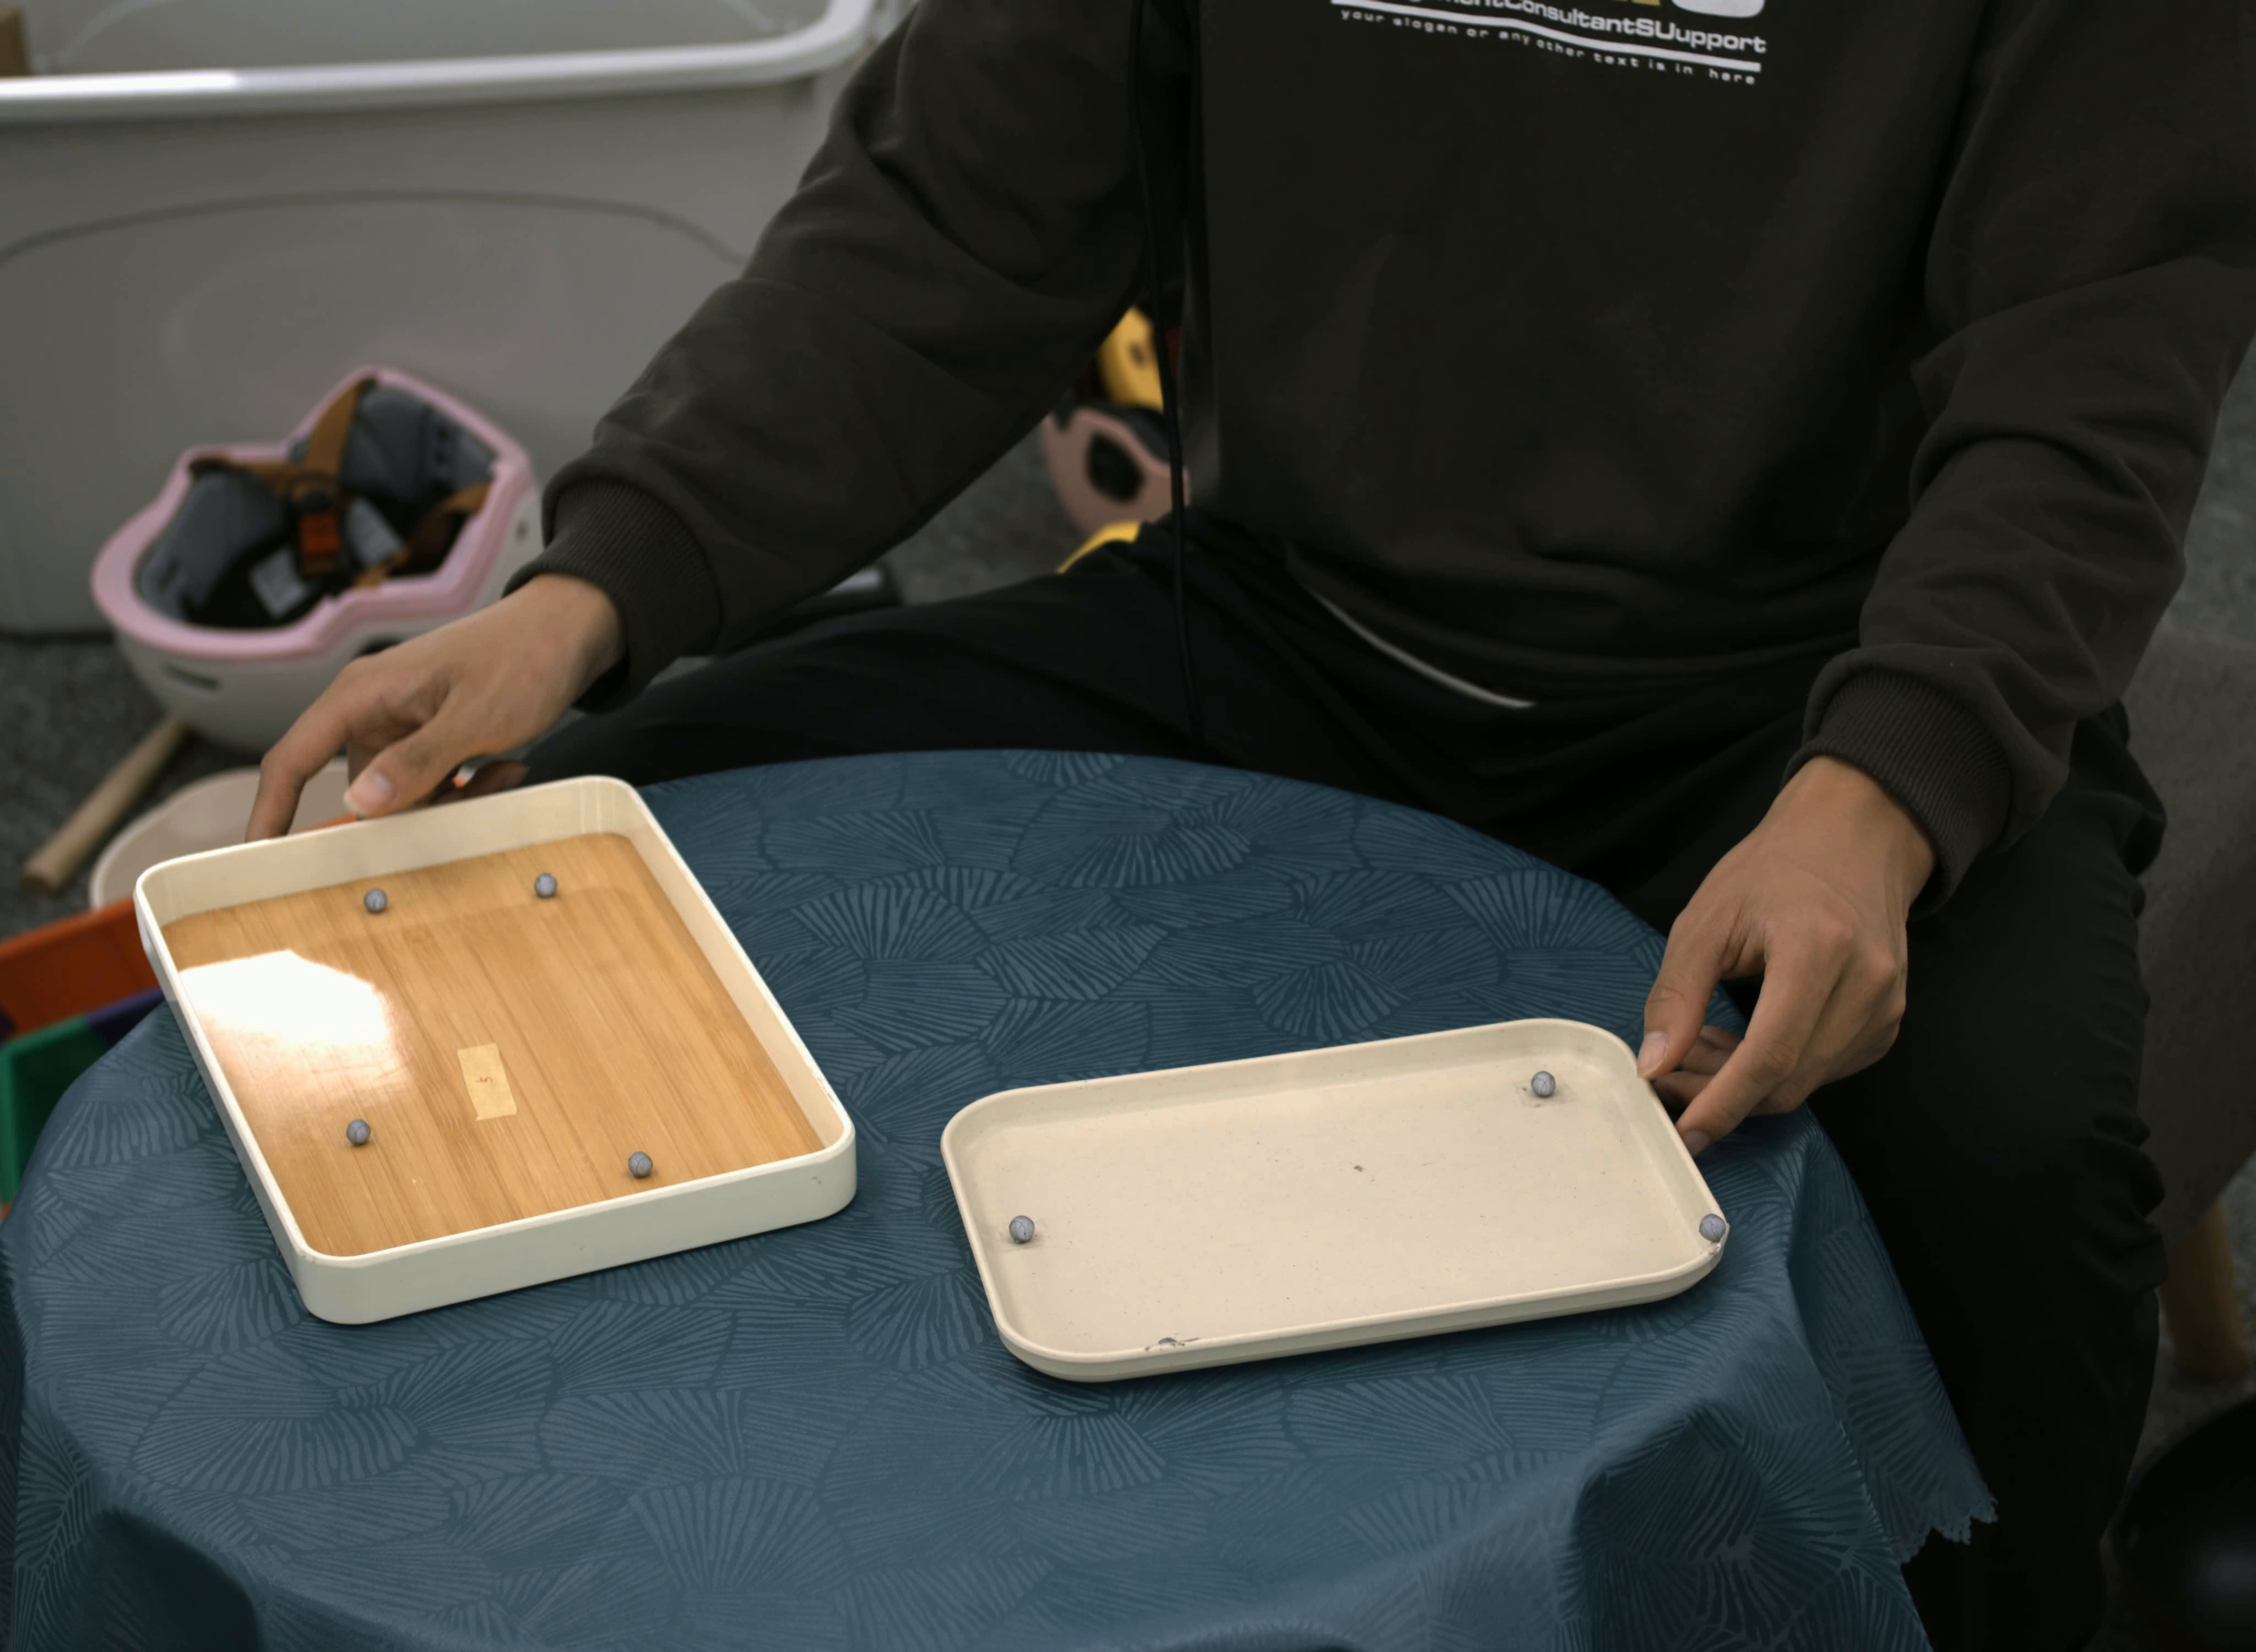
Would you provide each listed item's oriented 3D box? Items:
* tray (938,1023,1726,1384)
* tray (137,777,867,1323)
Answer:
[{"bbox_3d":[0.064,0.123,1.838,0.239,0.017,0.173,-7,27,-9],"label":"tray"},{"bbox_3d":[-0.222,0.072,1.949,0.192,0.027,0.303,-12,29,-17],"label":"tray"}]
